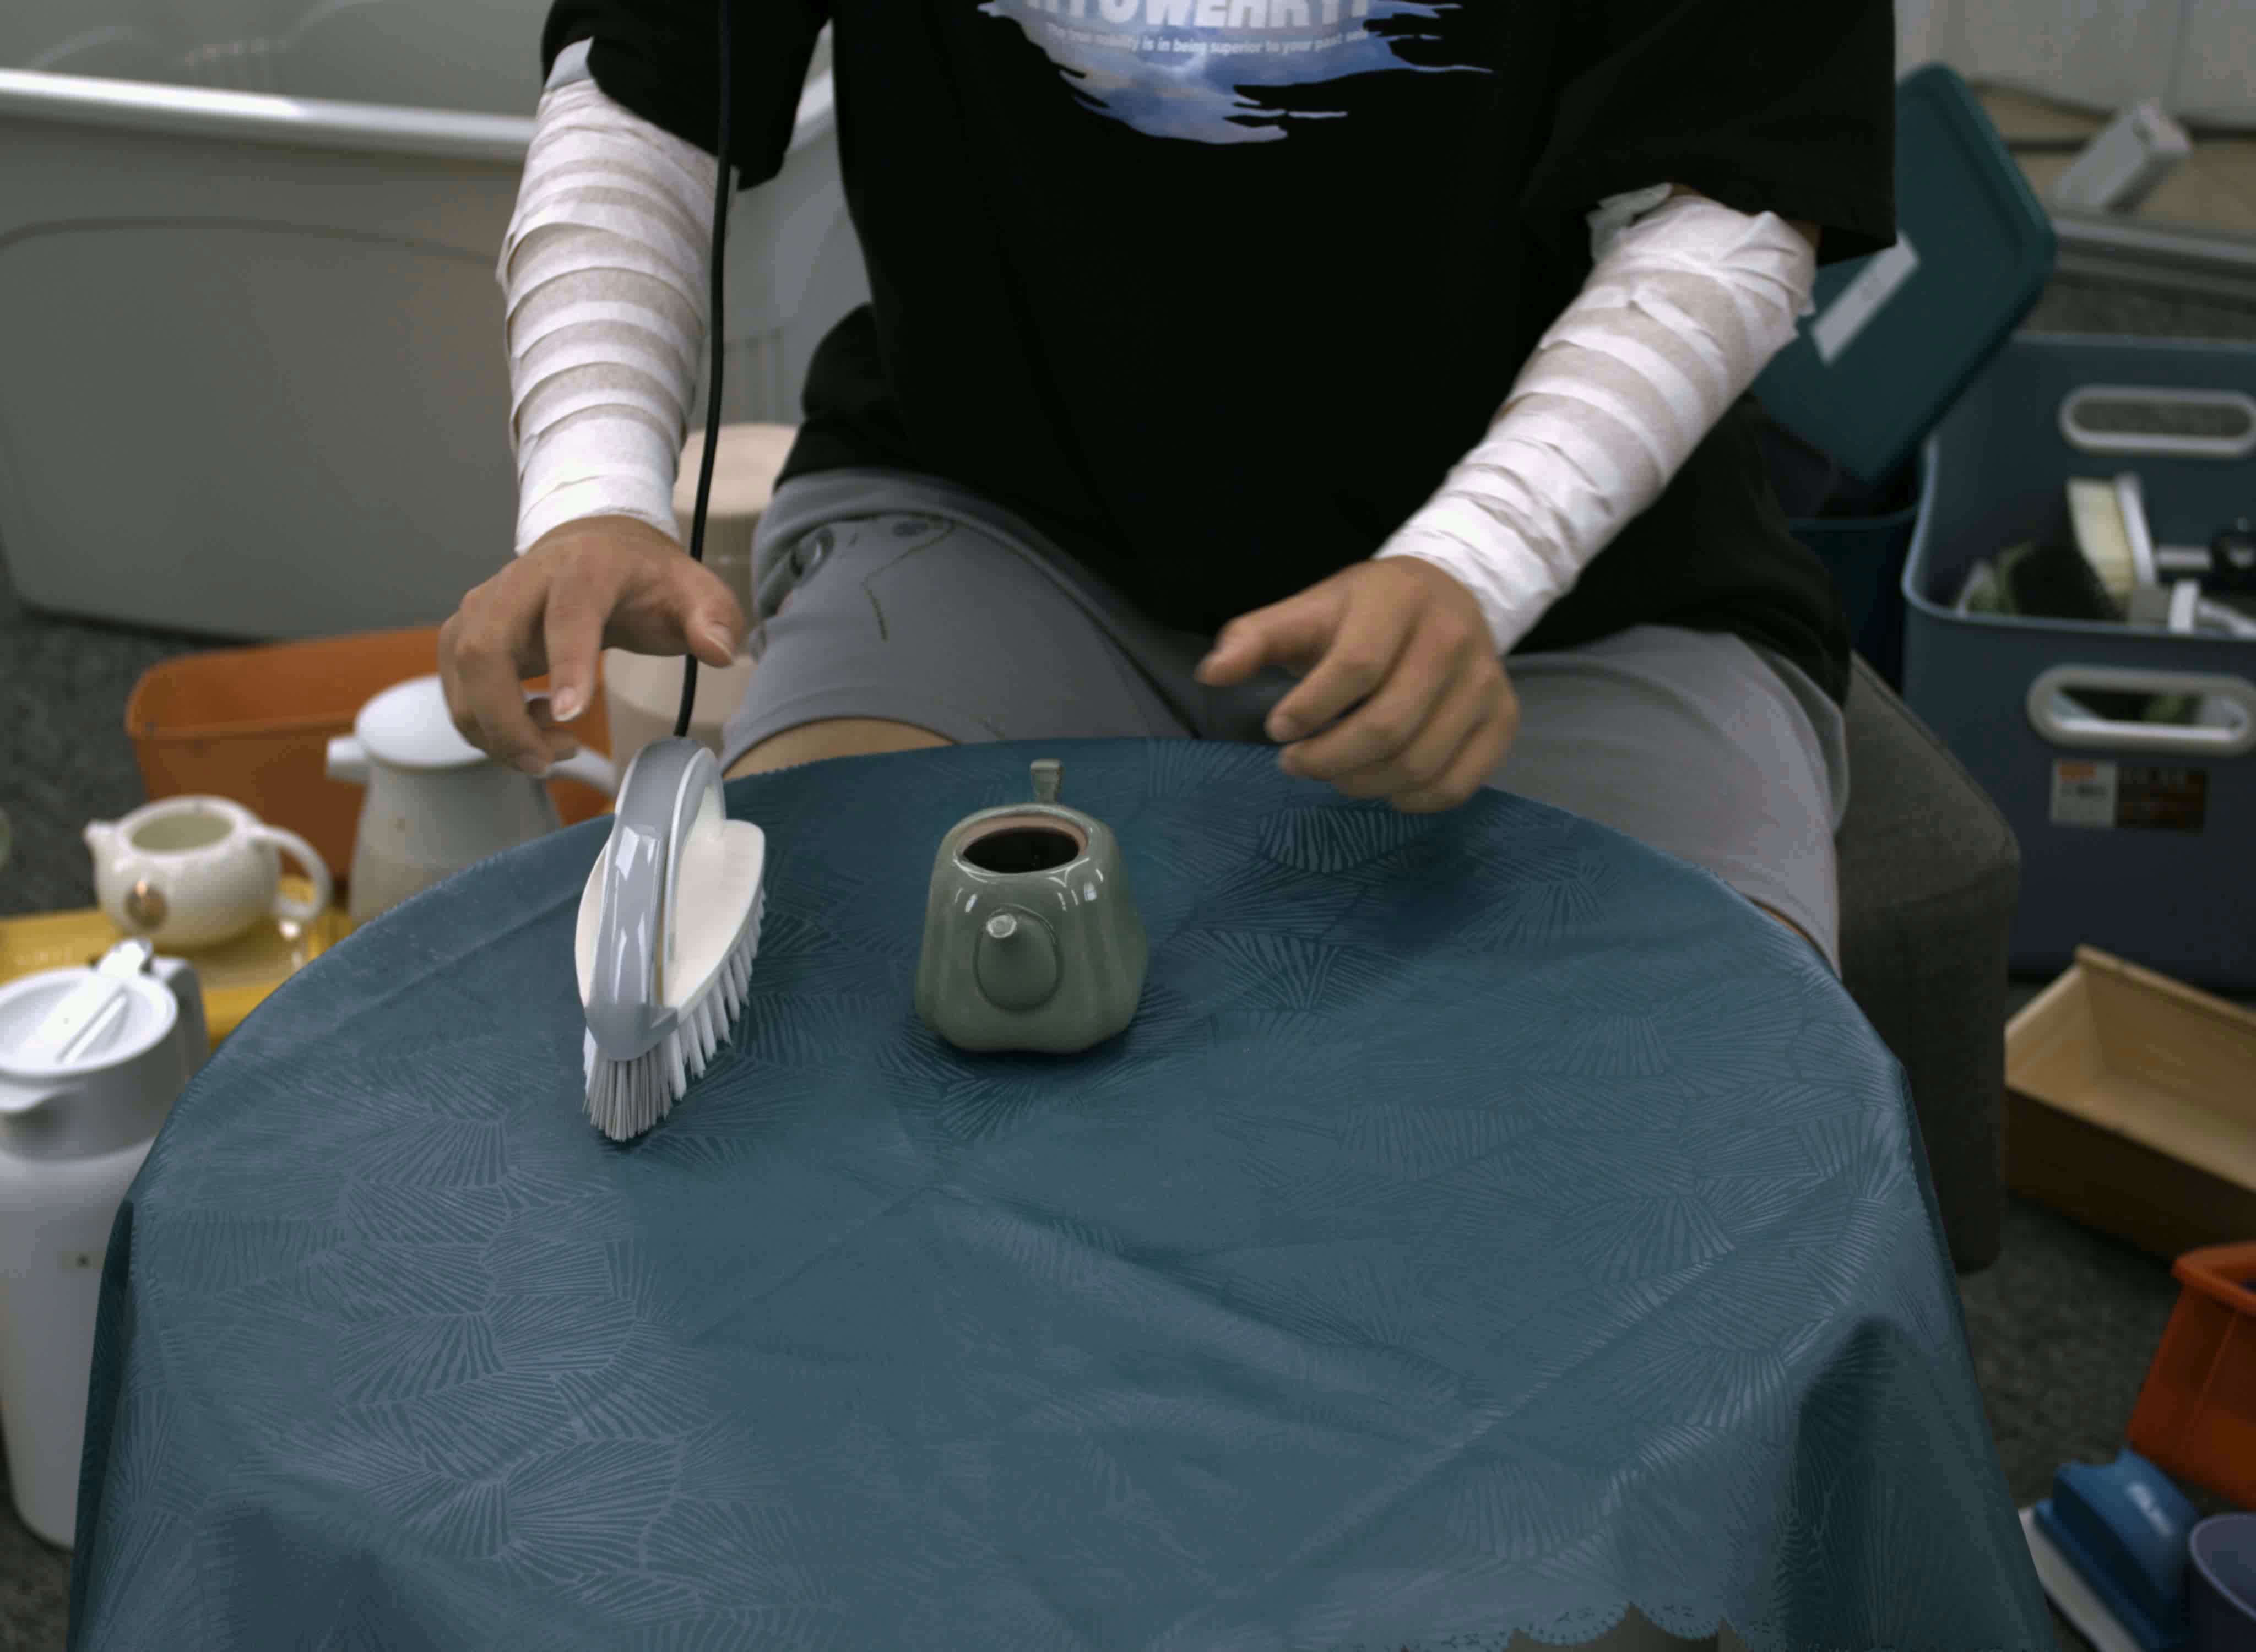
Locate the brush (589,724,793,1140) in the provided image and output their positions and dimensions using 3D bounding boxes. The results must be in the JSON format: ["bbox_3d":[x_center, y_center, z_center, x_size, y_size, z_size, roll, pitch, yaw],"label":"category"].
[{"bbox_3d":[-0.161,0.029,1.959,0.061,0.093,0.178,-4,28,10],"label":"brush"}]

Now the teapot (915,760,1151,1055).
[{"bbox_3d":[-0.034,0.034,1.957,0.079,0.074,0.134,2,26,8],"label":"teapot"}]
